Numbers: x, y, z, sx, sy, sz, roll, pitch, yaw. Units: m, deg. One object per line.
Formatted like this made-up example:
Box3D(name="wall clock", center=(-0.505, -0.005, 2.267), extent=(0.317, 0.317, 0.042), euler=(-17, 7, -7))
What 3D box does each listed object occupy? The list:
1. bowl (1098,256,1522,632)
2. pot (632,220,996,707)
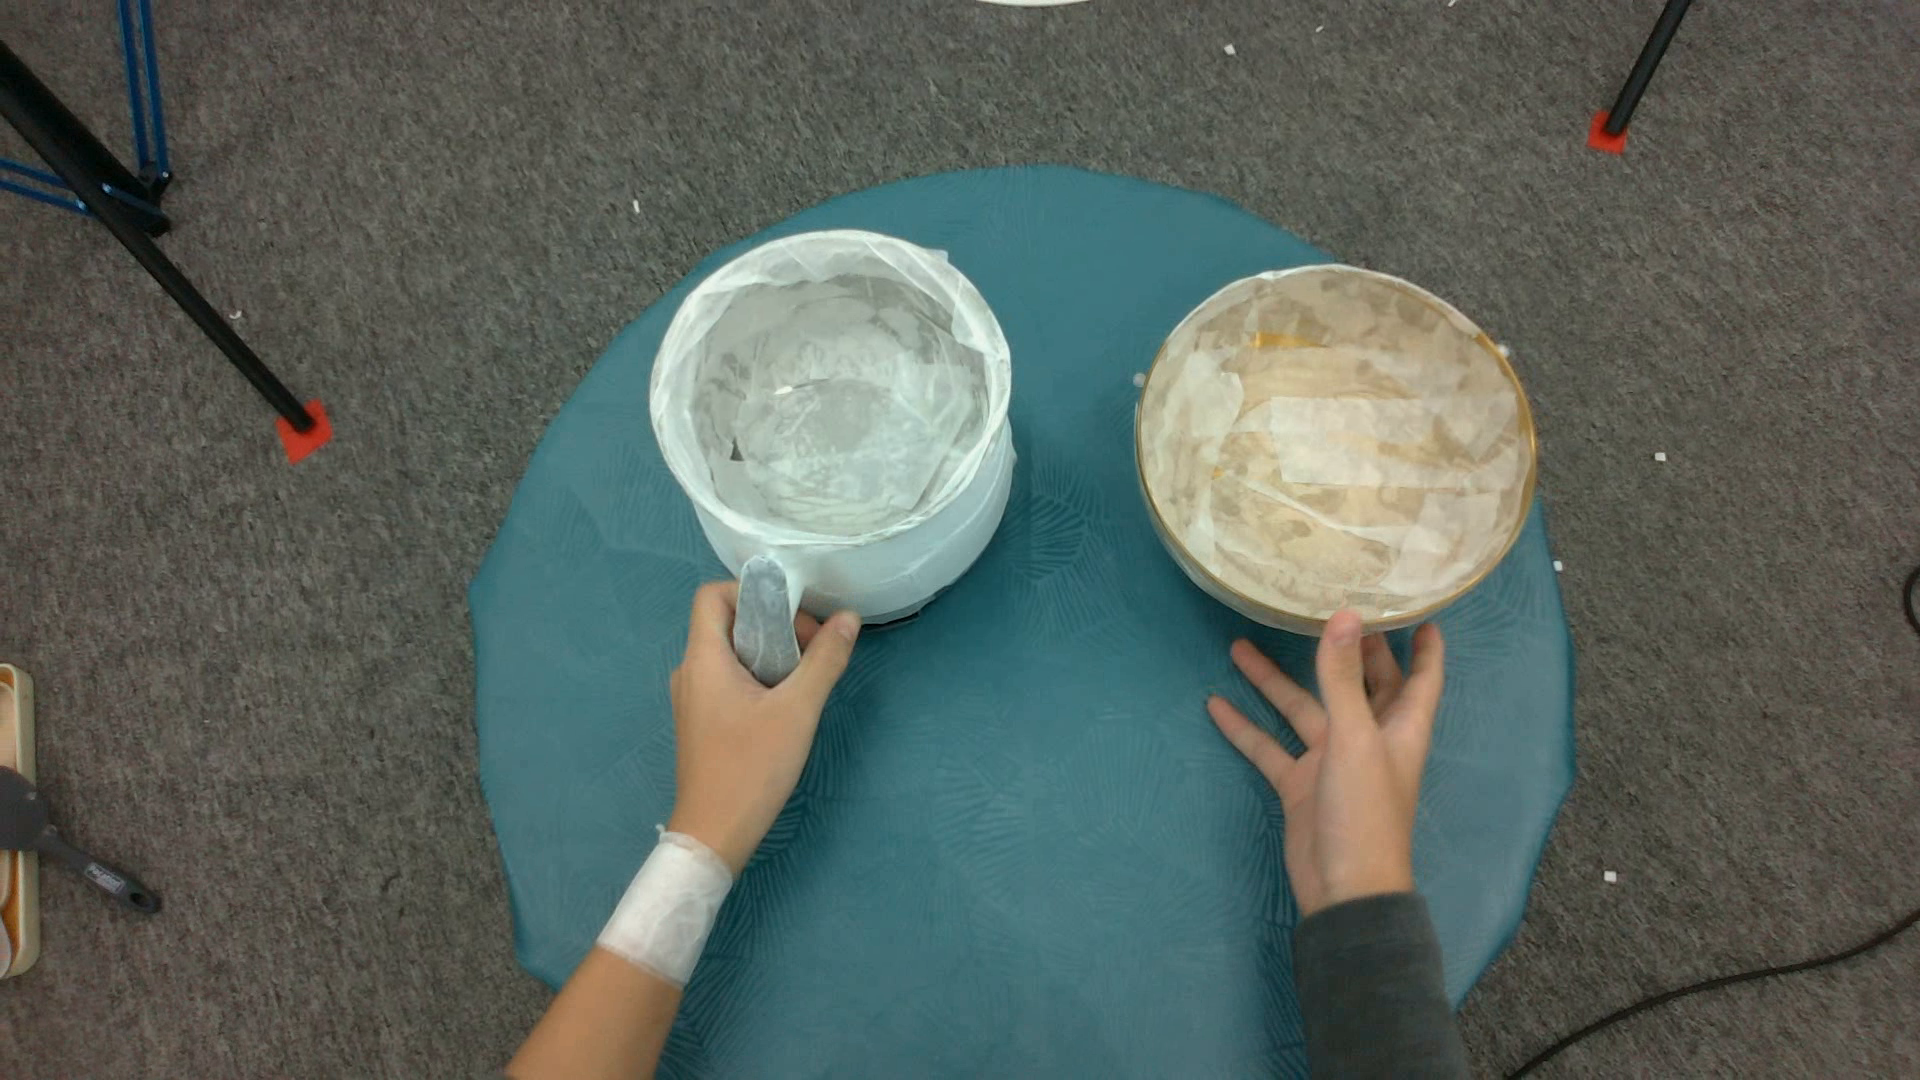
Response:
Box3D(name="bowl", center=(0.179, -0.039, 0.738), extent=(0.215, 0.094, 0.215), euler=(0, 69, 0))
Box3D(name="pot", center=(-0.076, -0.034, 0.720), extent=(0.178, 0.136, 0.234), euler=(12, 69, 7))
